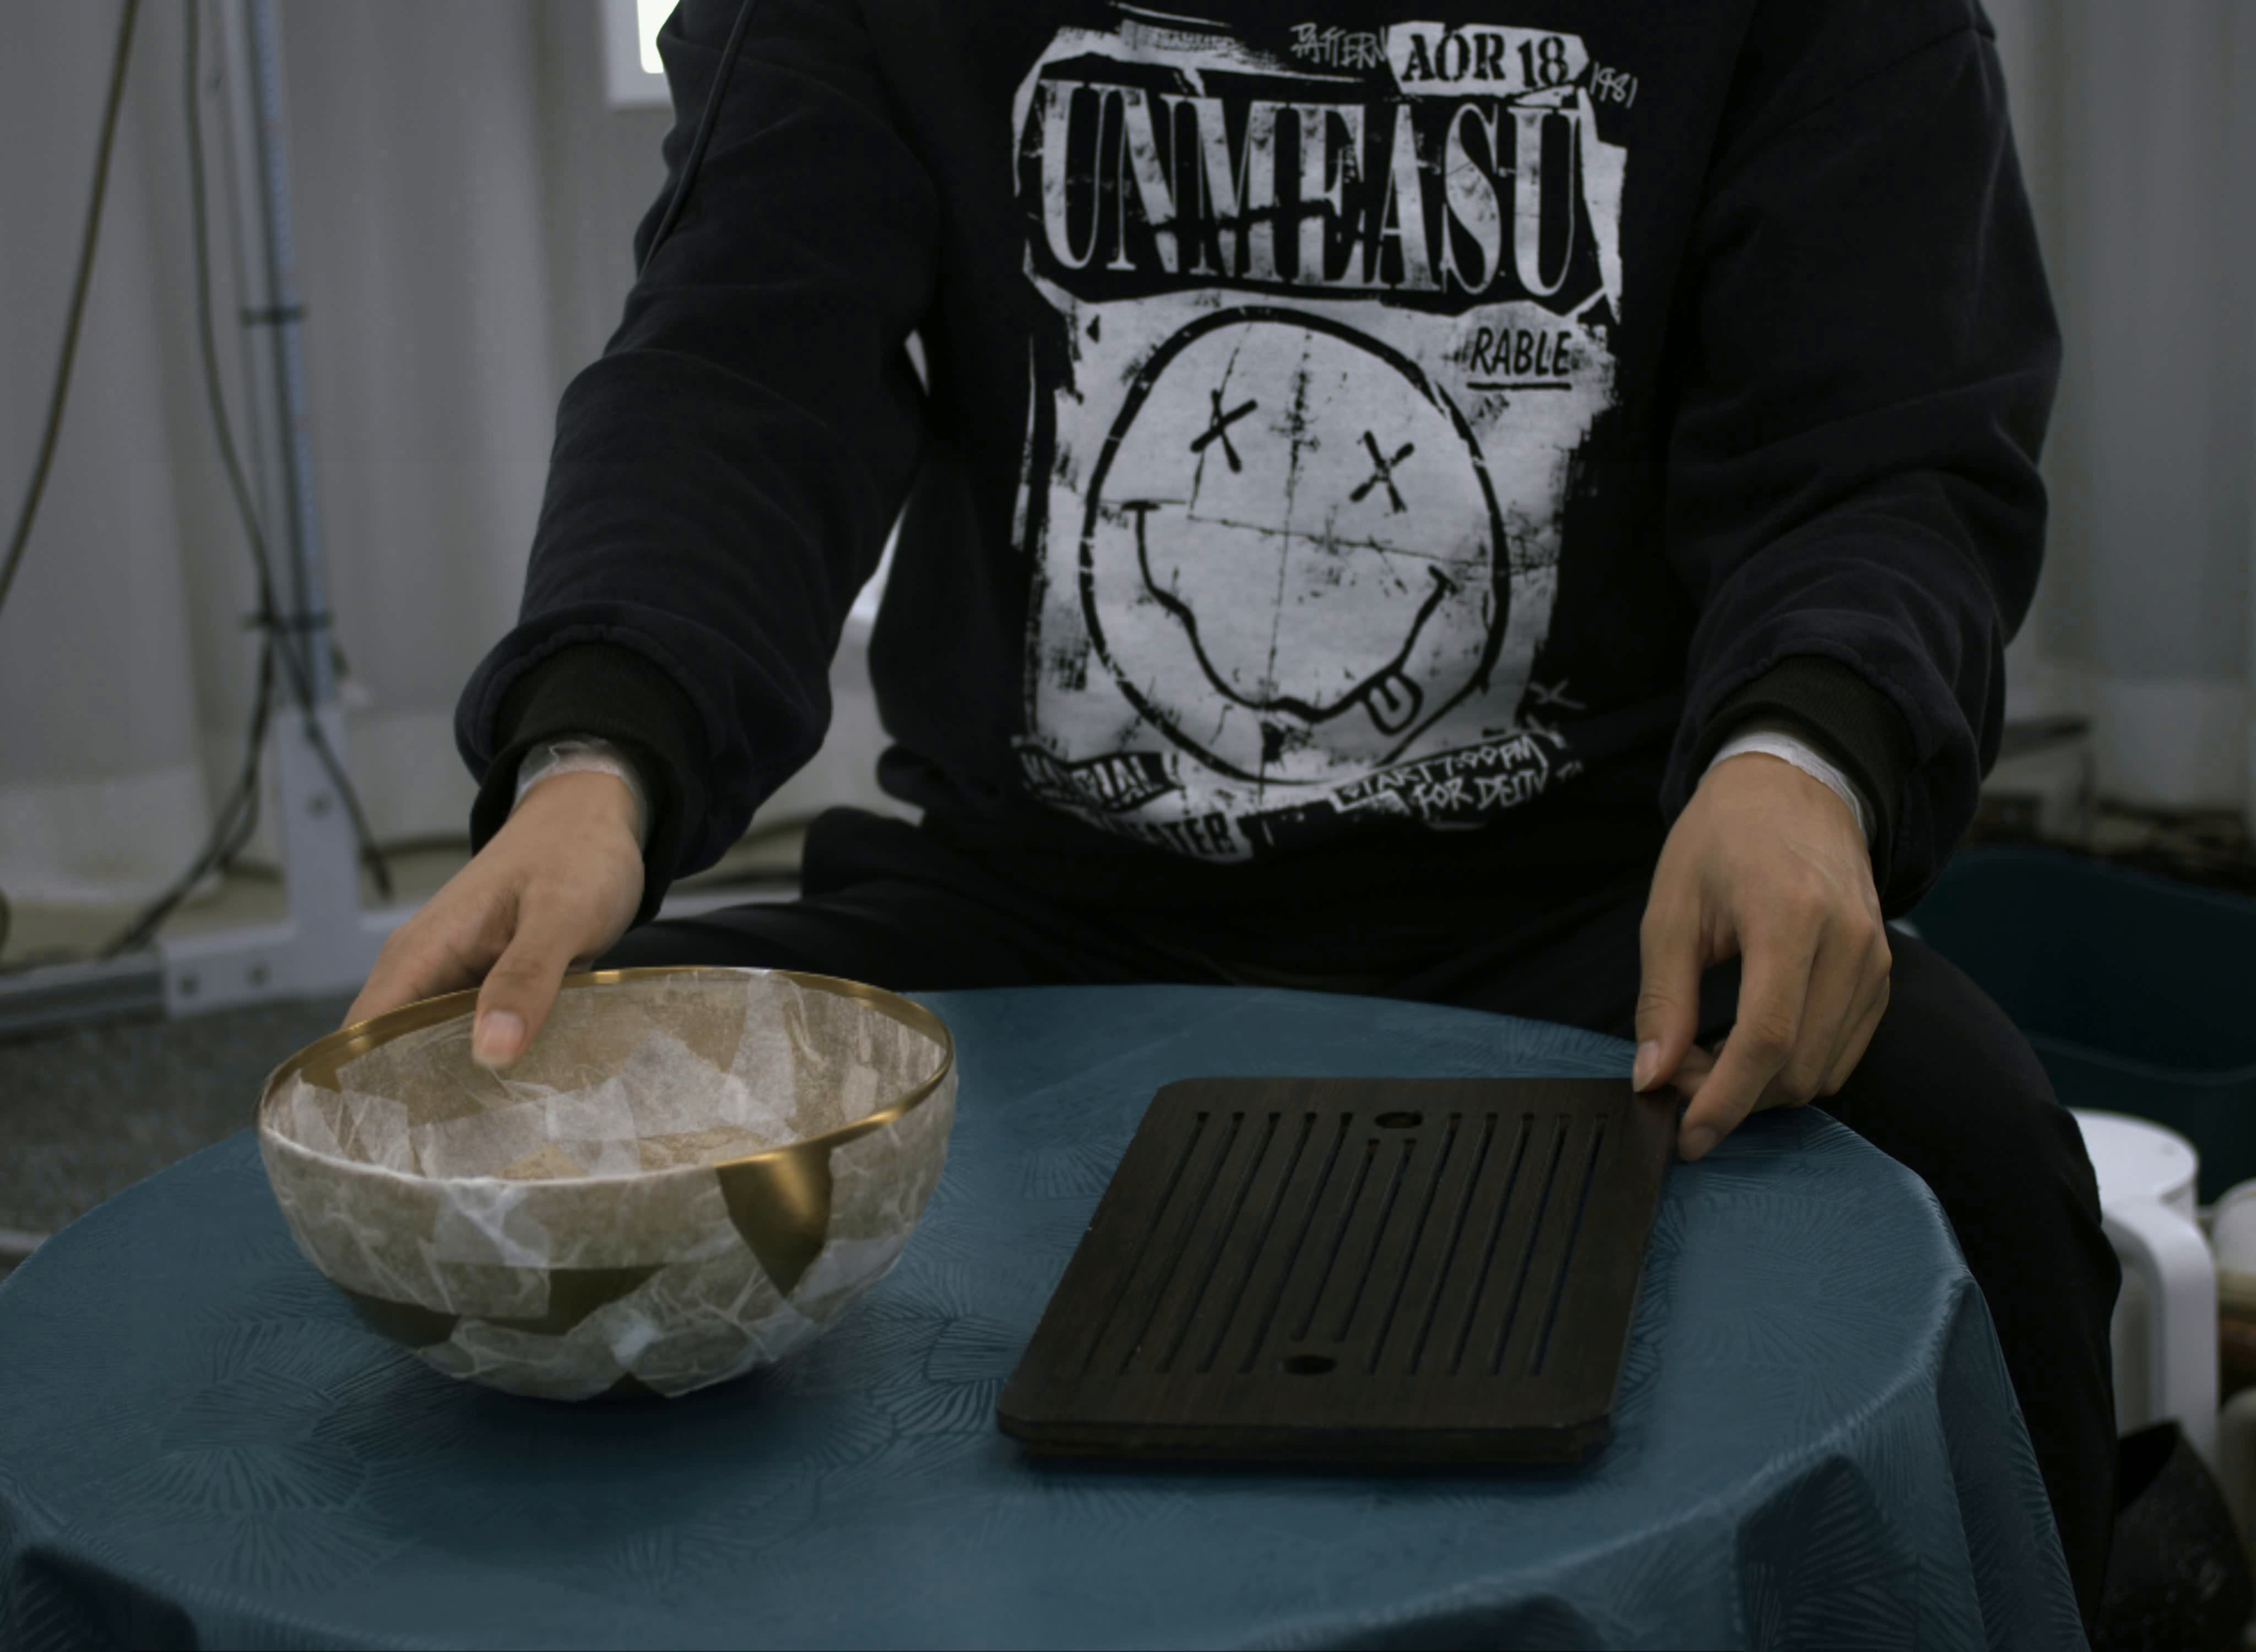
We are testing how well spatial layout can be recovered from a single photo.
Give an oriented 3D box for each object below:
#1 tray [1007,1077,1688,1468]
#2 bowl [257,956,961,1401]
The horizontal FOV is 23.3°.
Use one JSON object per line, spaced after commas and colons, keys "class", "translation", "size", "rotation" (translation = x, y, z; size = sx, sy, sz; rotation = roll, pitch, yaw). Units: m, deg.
{"class": "tray", "translation": [0.073, 0.129, 1.613], "size": [0.170, 0.018, 0.307], "rotation": [0, 15, 10]}
{"class": "bowl", "translation": [-0.142, 0.110, 1.580], "size": [0.214, 0.094, 0.216], "rotation": [-4, 15, 1]}
